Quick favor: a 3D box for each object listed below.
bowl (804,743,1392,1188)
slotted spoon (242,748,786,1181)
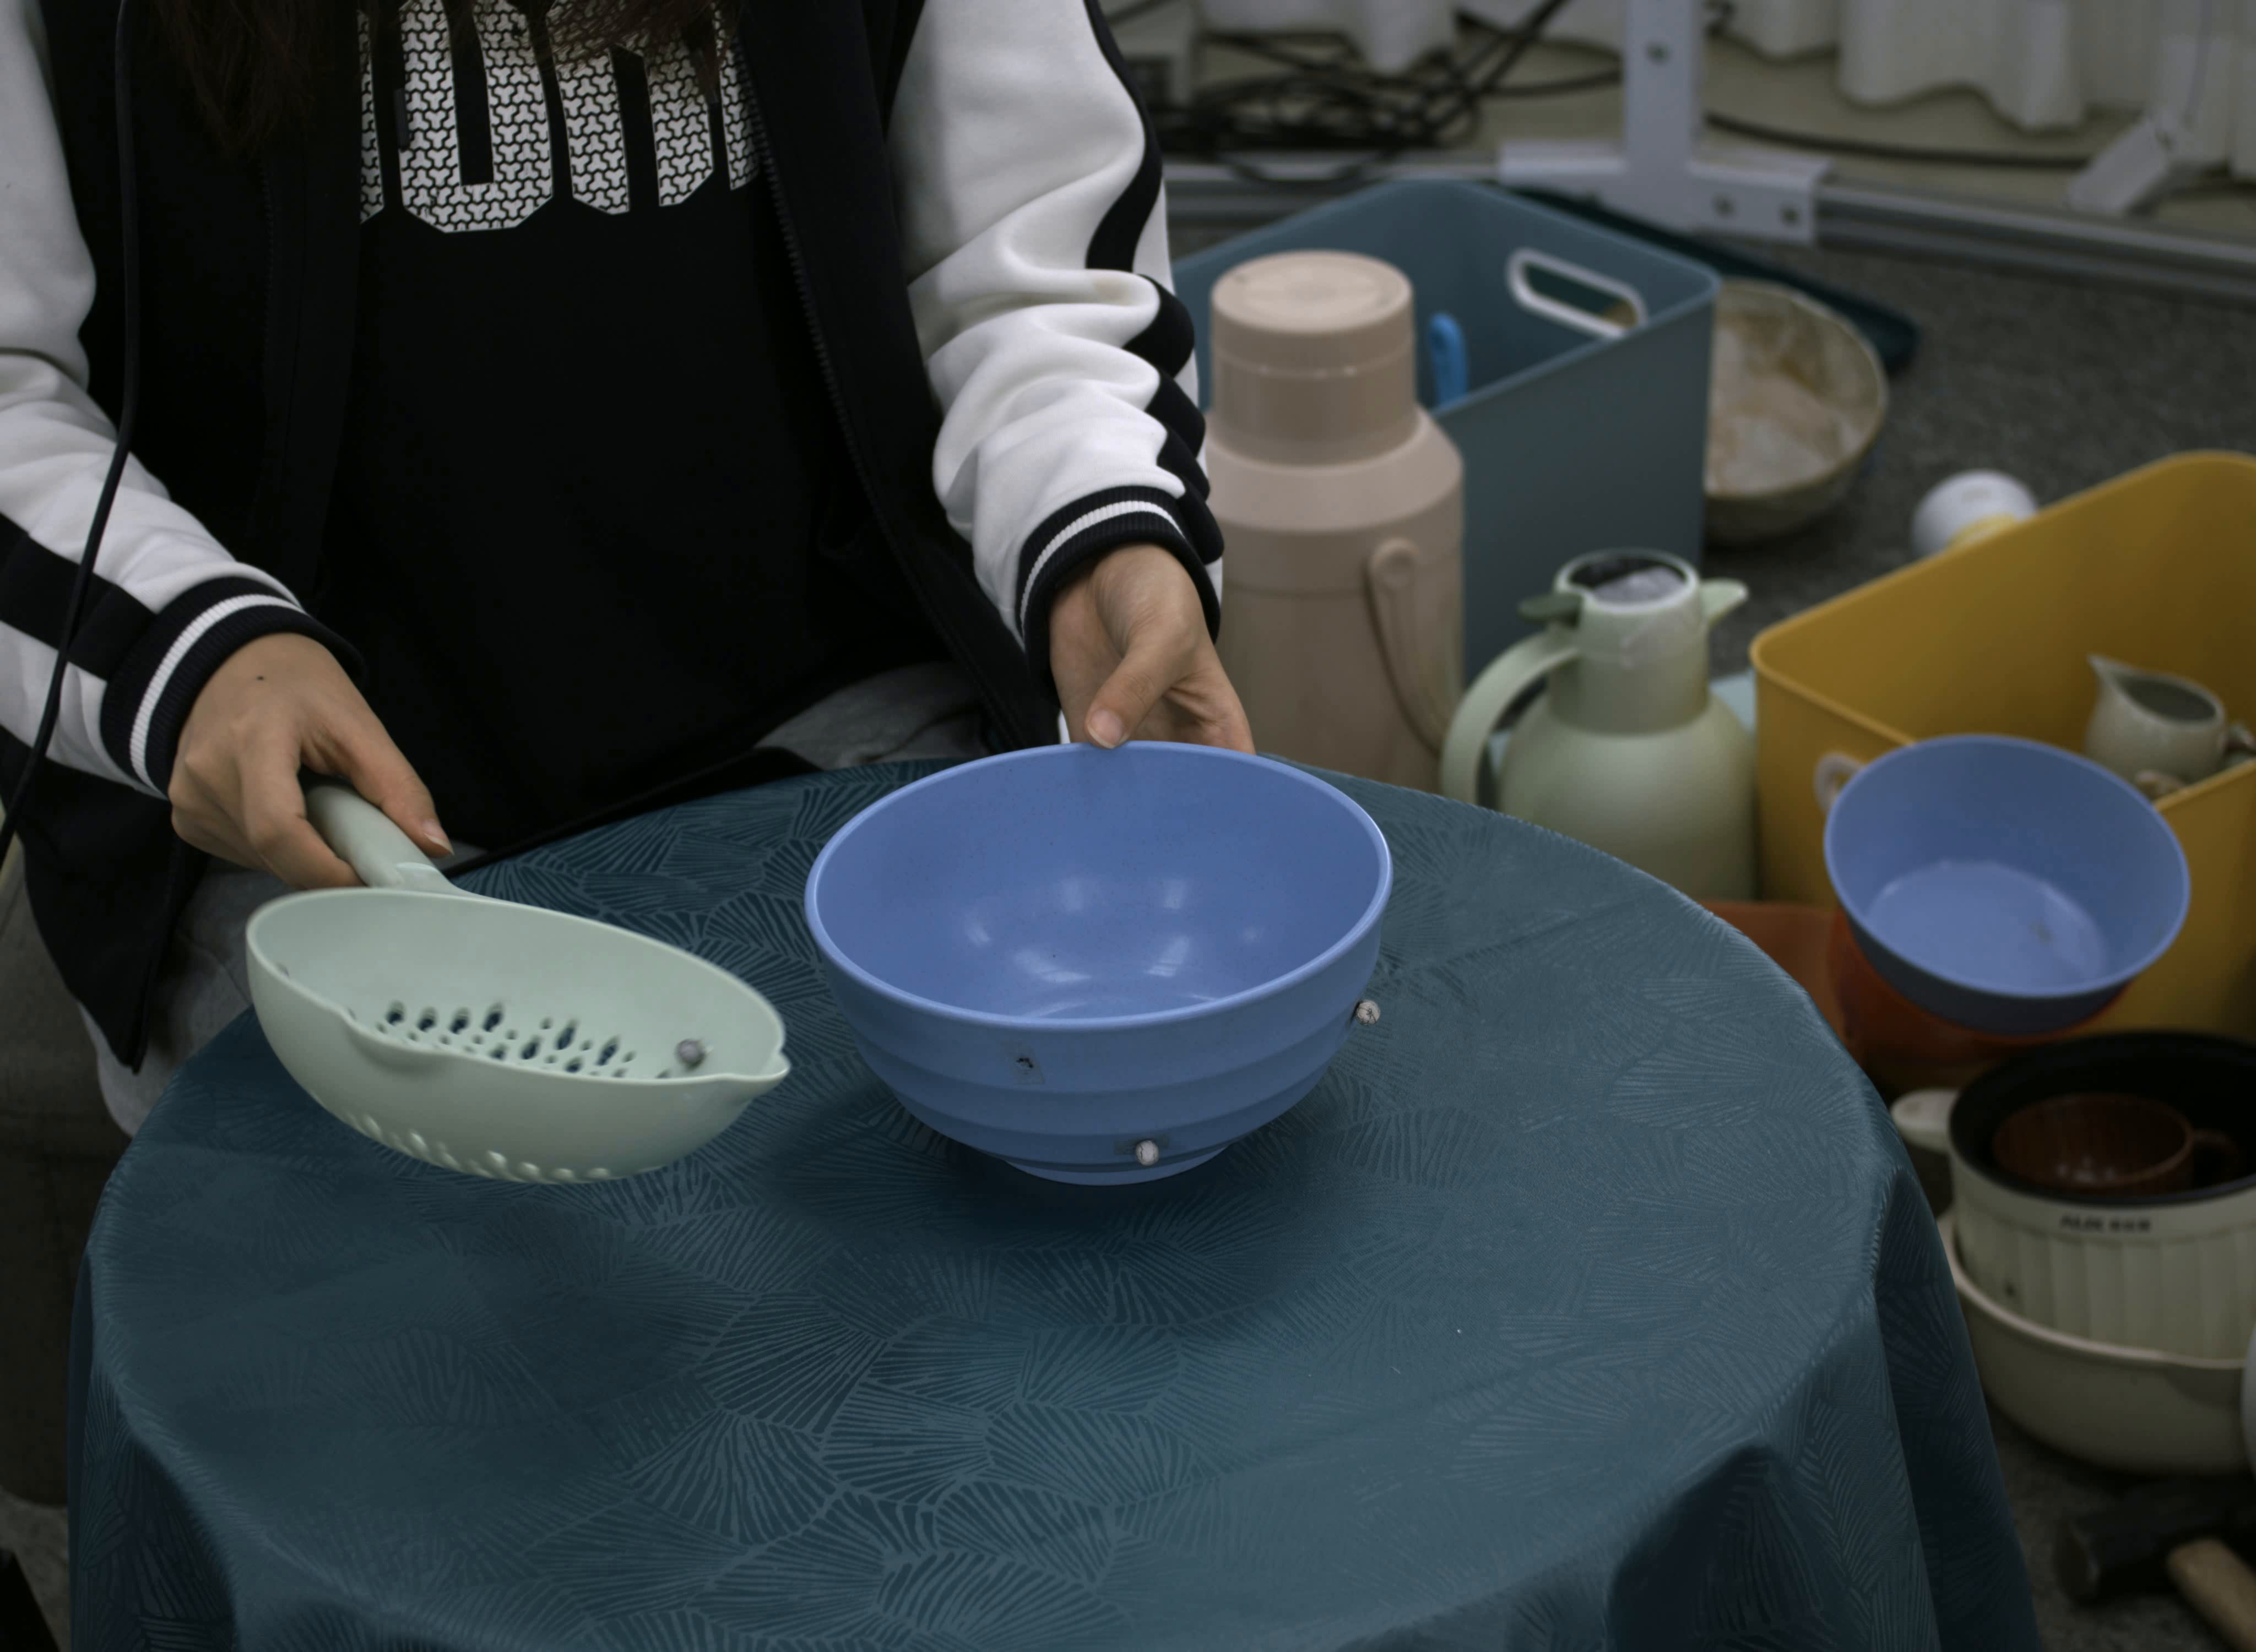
[{"bbox_3d":[-0.008,0.058,1.884,0.195,0.094,0.199,-3,27,2],"label":"bowl"},{"bbox_3d":[-0.231,0.030,1.825,0.169,0.075,0.362,11,20,-27],"label":"slotted spoon"}]
